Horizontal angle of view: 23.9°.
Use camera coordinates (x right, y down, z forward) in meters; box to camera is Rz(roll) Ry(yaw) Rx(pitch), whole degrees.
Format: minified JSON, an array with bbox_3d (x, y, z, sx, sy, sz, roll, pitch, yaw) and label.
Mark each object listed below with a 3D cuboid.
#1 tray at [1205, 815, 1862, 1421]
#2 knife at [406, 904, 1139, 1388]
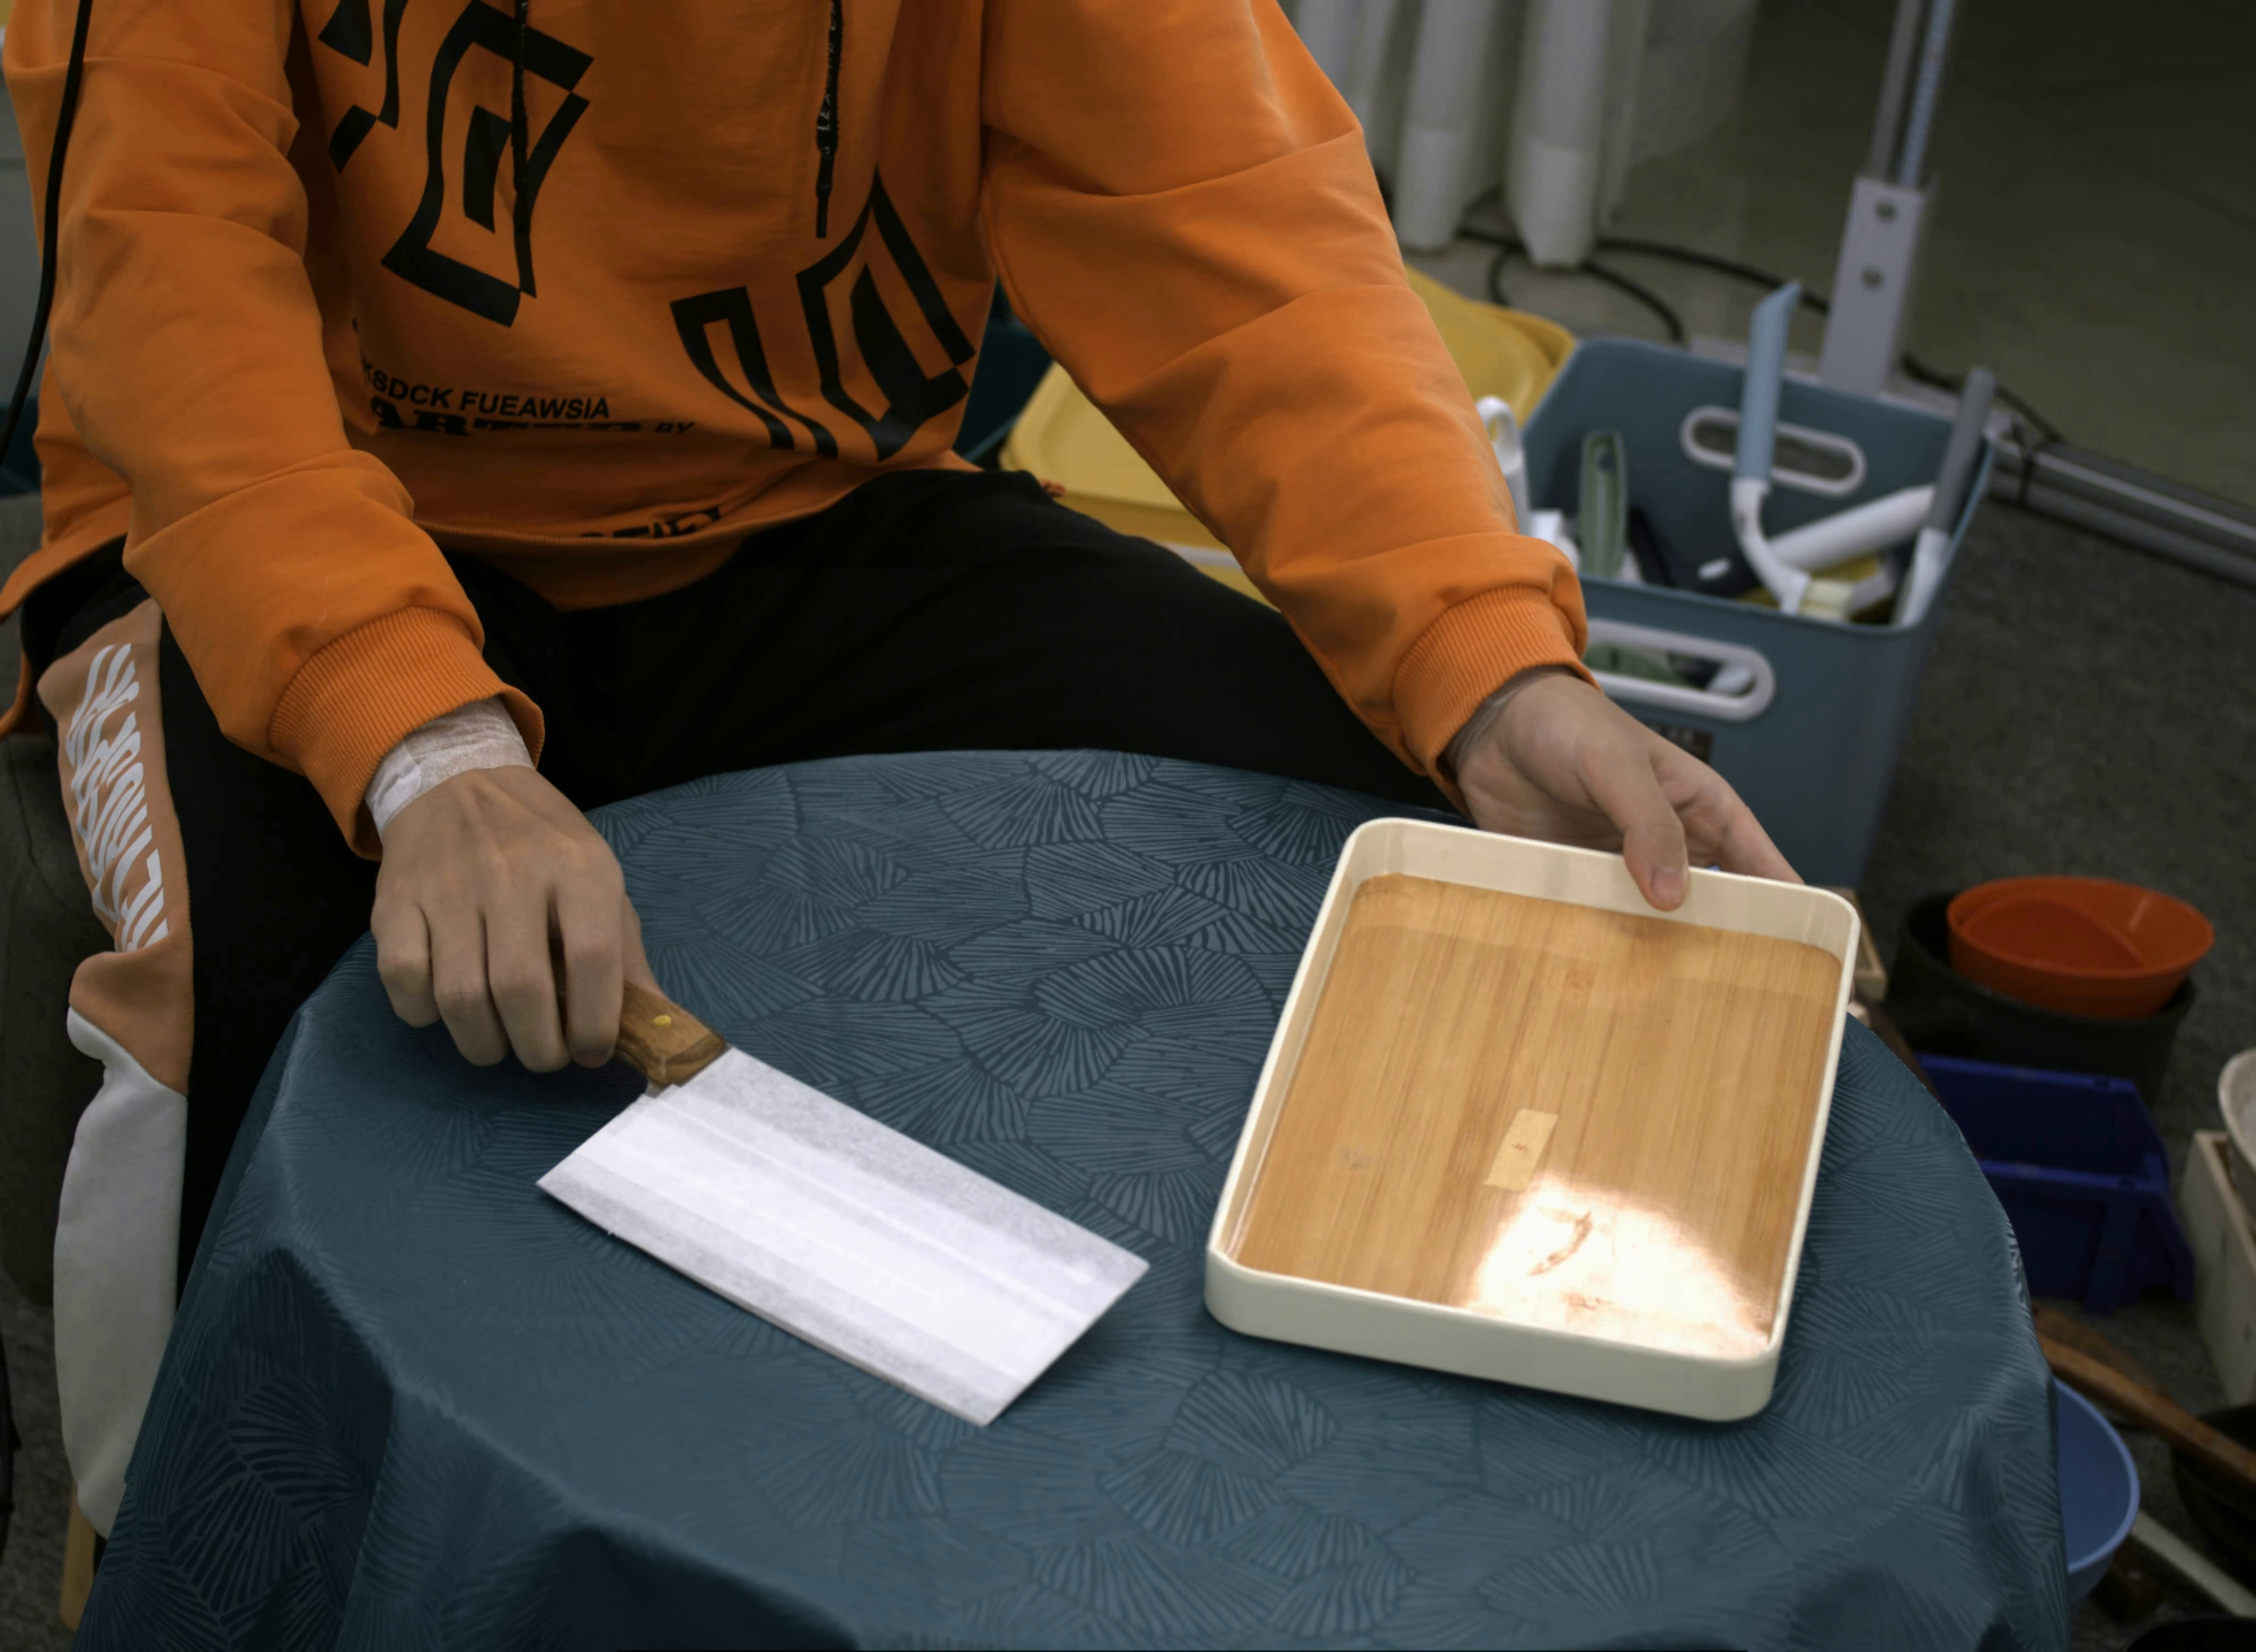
[{"bbox_3d":[0.145,0.094,1.833,0.191,0.027,0.301,9,32,9],"label":"tray"},{"bbox_3d":[-0.139,0.108,1.767,0.307,0.021,0.093,25,48,30],"label":"knife"}]
